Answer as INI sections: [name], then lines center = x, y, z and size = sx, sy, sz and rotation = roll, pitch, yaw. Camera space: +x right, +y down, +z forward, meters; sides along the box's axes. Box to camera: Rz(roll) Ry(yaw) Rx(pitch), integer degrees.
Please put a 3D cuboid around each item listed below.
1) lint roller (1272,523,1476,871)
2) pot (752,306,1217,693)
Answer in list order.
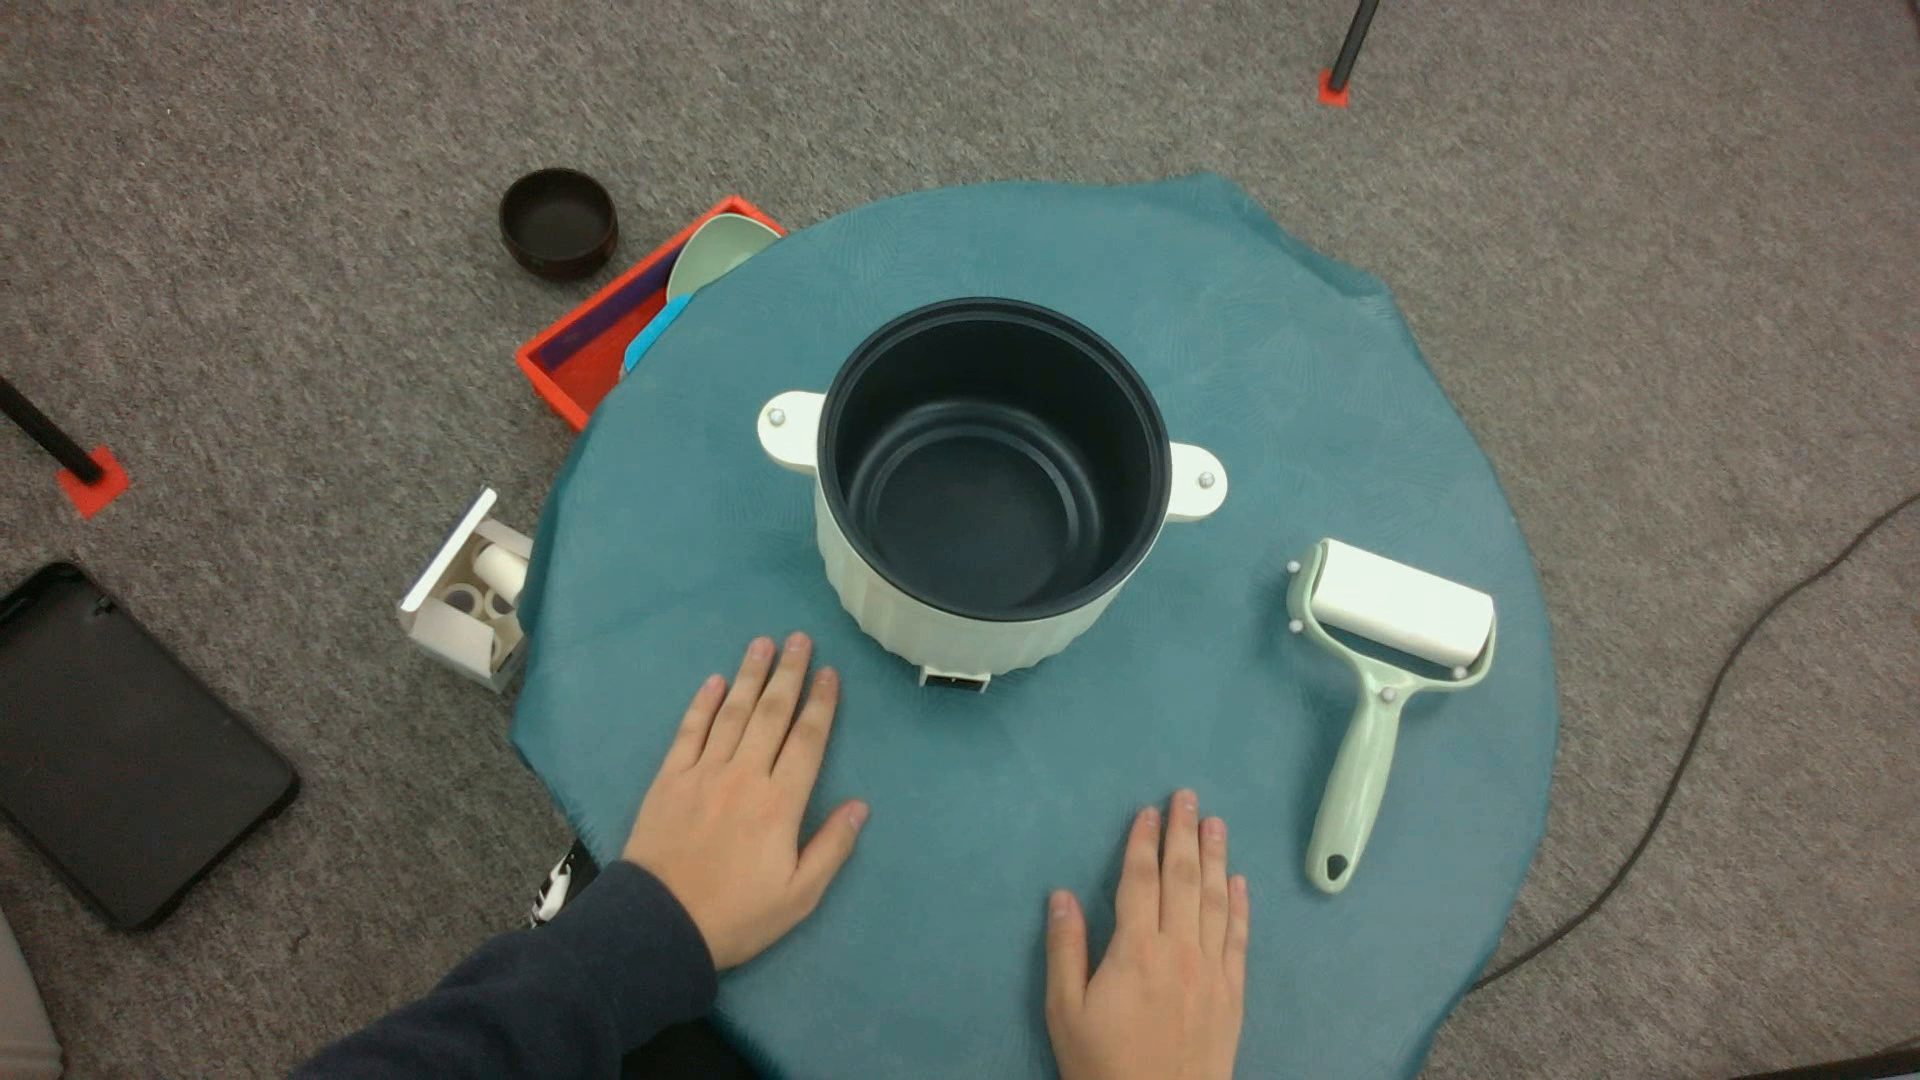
[lint roller]
center = 0.227, 0.091, 0.796
size = 0.116, 0.048, 0.198
rotation = 18, 67, -3
[pot]
center = 0.007, -0.022, 0.764
size = 0.240, 0.142, 0.191
rotation = 5, 69, -7
